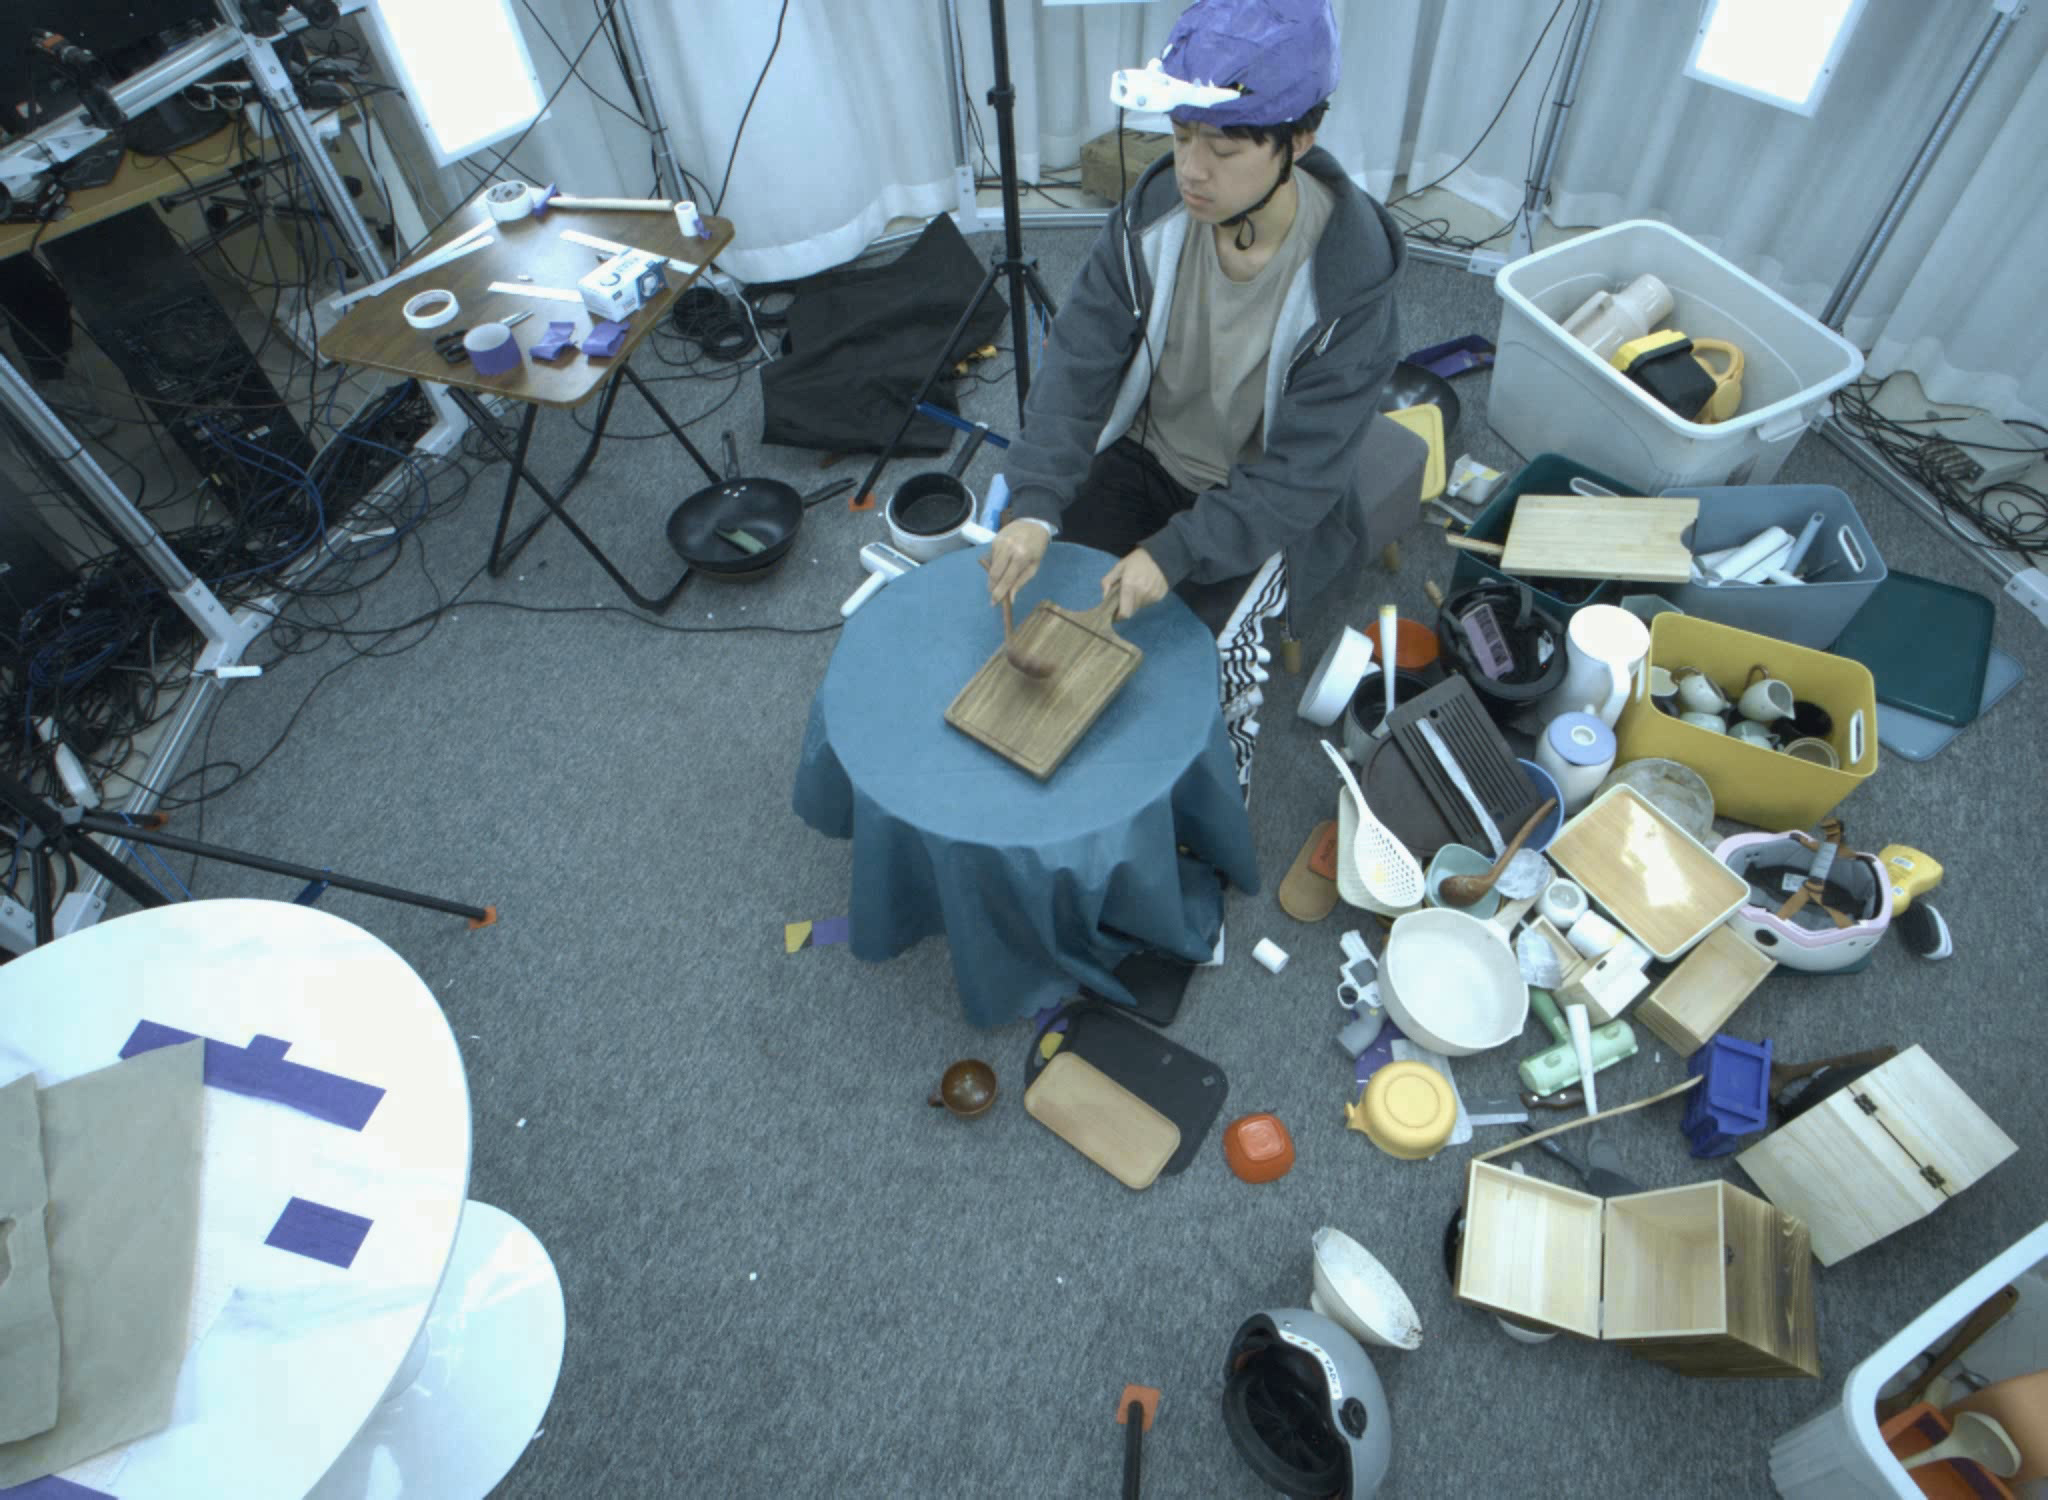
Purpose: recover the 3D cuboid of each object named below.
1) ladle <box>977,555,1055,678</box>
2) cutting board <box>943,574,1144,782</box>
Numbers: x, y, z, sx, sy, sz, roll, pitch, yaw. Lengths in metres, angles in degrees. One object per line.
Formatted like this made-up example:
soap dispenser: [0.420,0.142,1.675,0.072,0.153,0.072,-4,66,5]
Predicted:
ladle: [-0.016,-0.207,1.814,0.064,0.078,0.256,-32,54,23]
cutting board: [0.058,-0.130,1.826,0.197,0.023,0.353,31,72,24]
